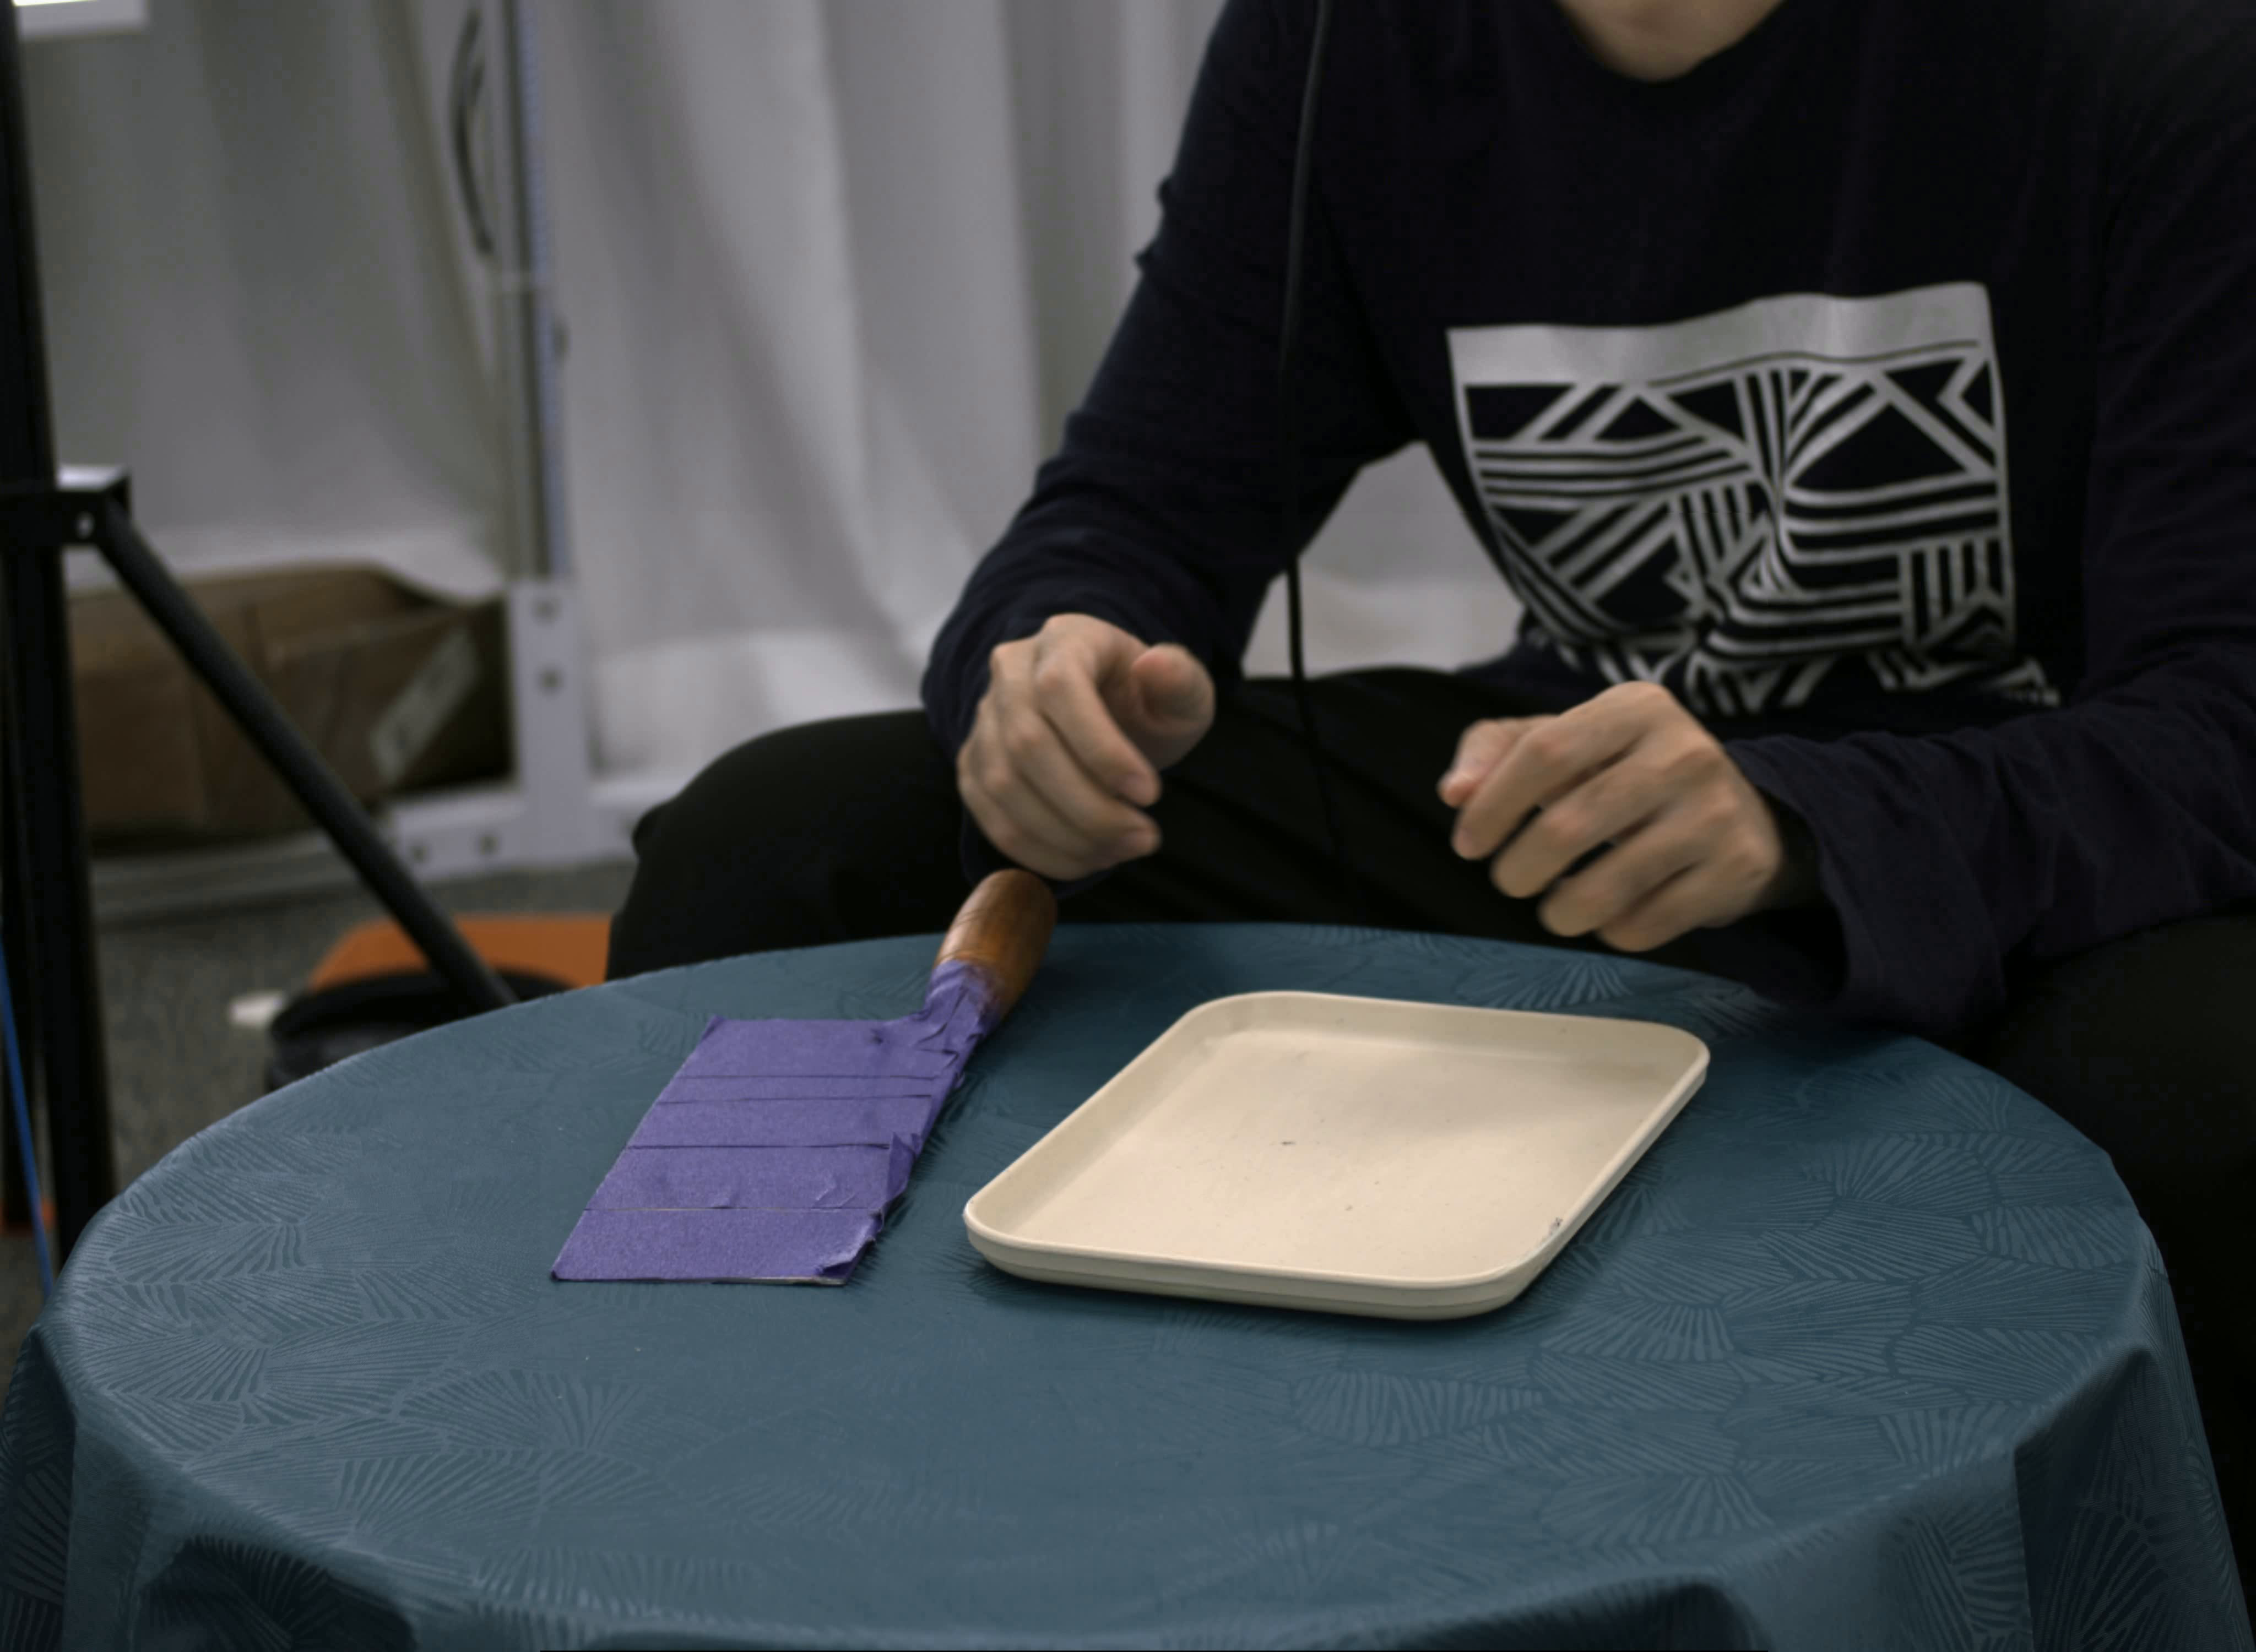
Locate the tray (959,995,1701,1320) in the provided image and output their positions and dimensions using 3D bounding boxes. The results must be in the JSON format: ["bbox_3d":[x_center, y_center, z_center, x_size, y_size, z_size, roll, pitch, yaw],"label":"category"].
[{"bbox_3d":[0.064,0.096,1.561,0.173,0.017,0.236,4,17,22],"label":"tray"}]

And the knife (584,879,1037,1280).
[{"bbox_3d":[-0.096,0.075,1.645,0.104,0.032,0.314,1,16,9],"label":"knife"}]
